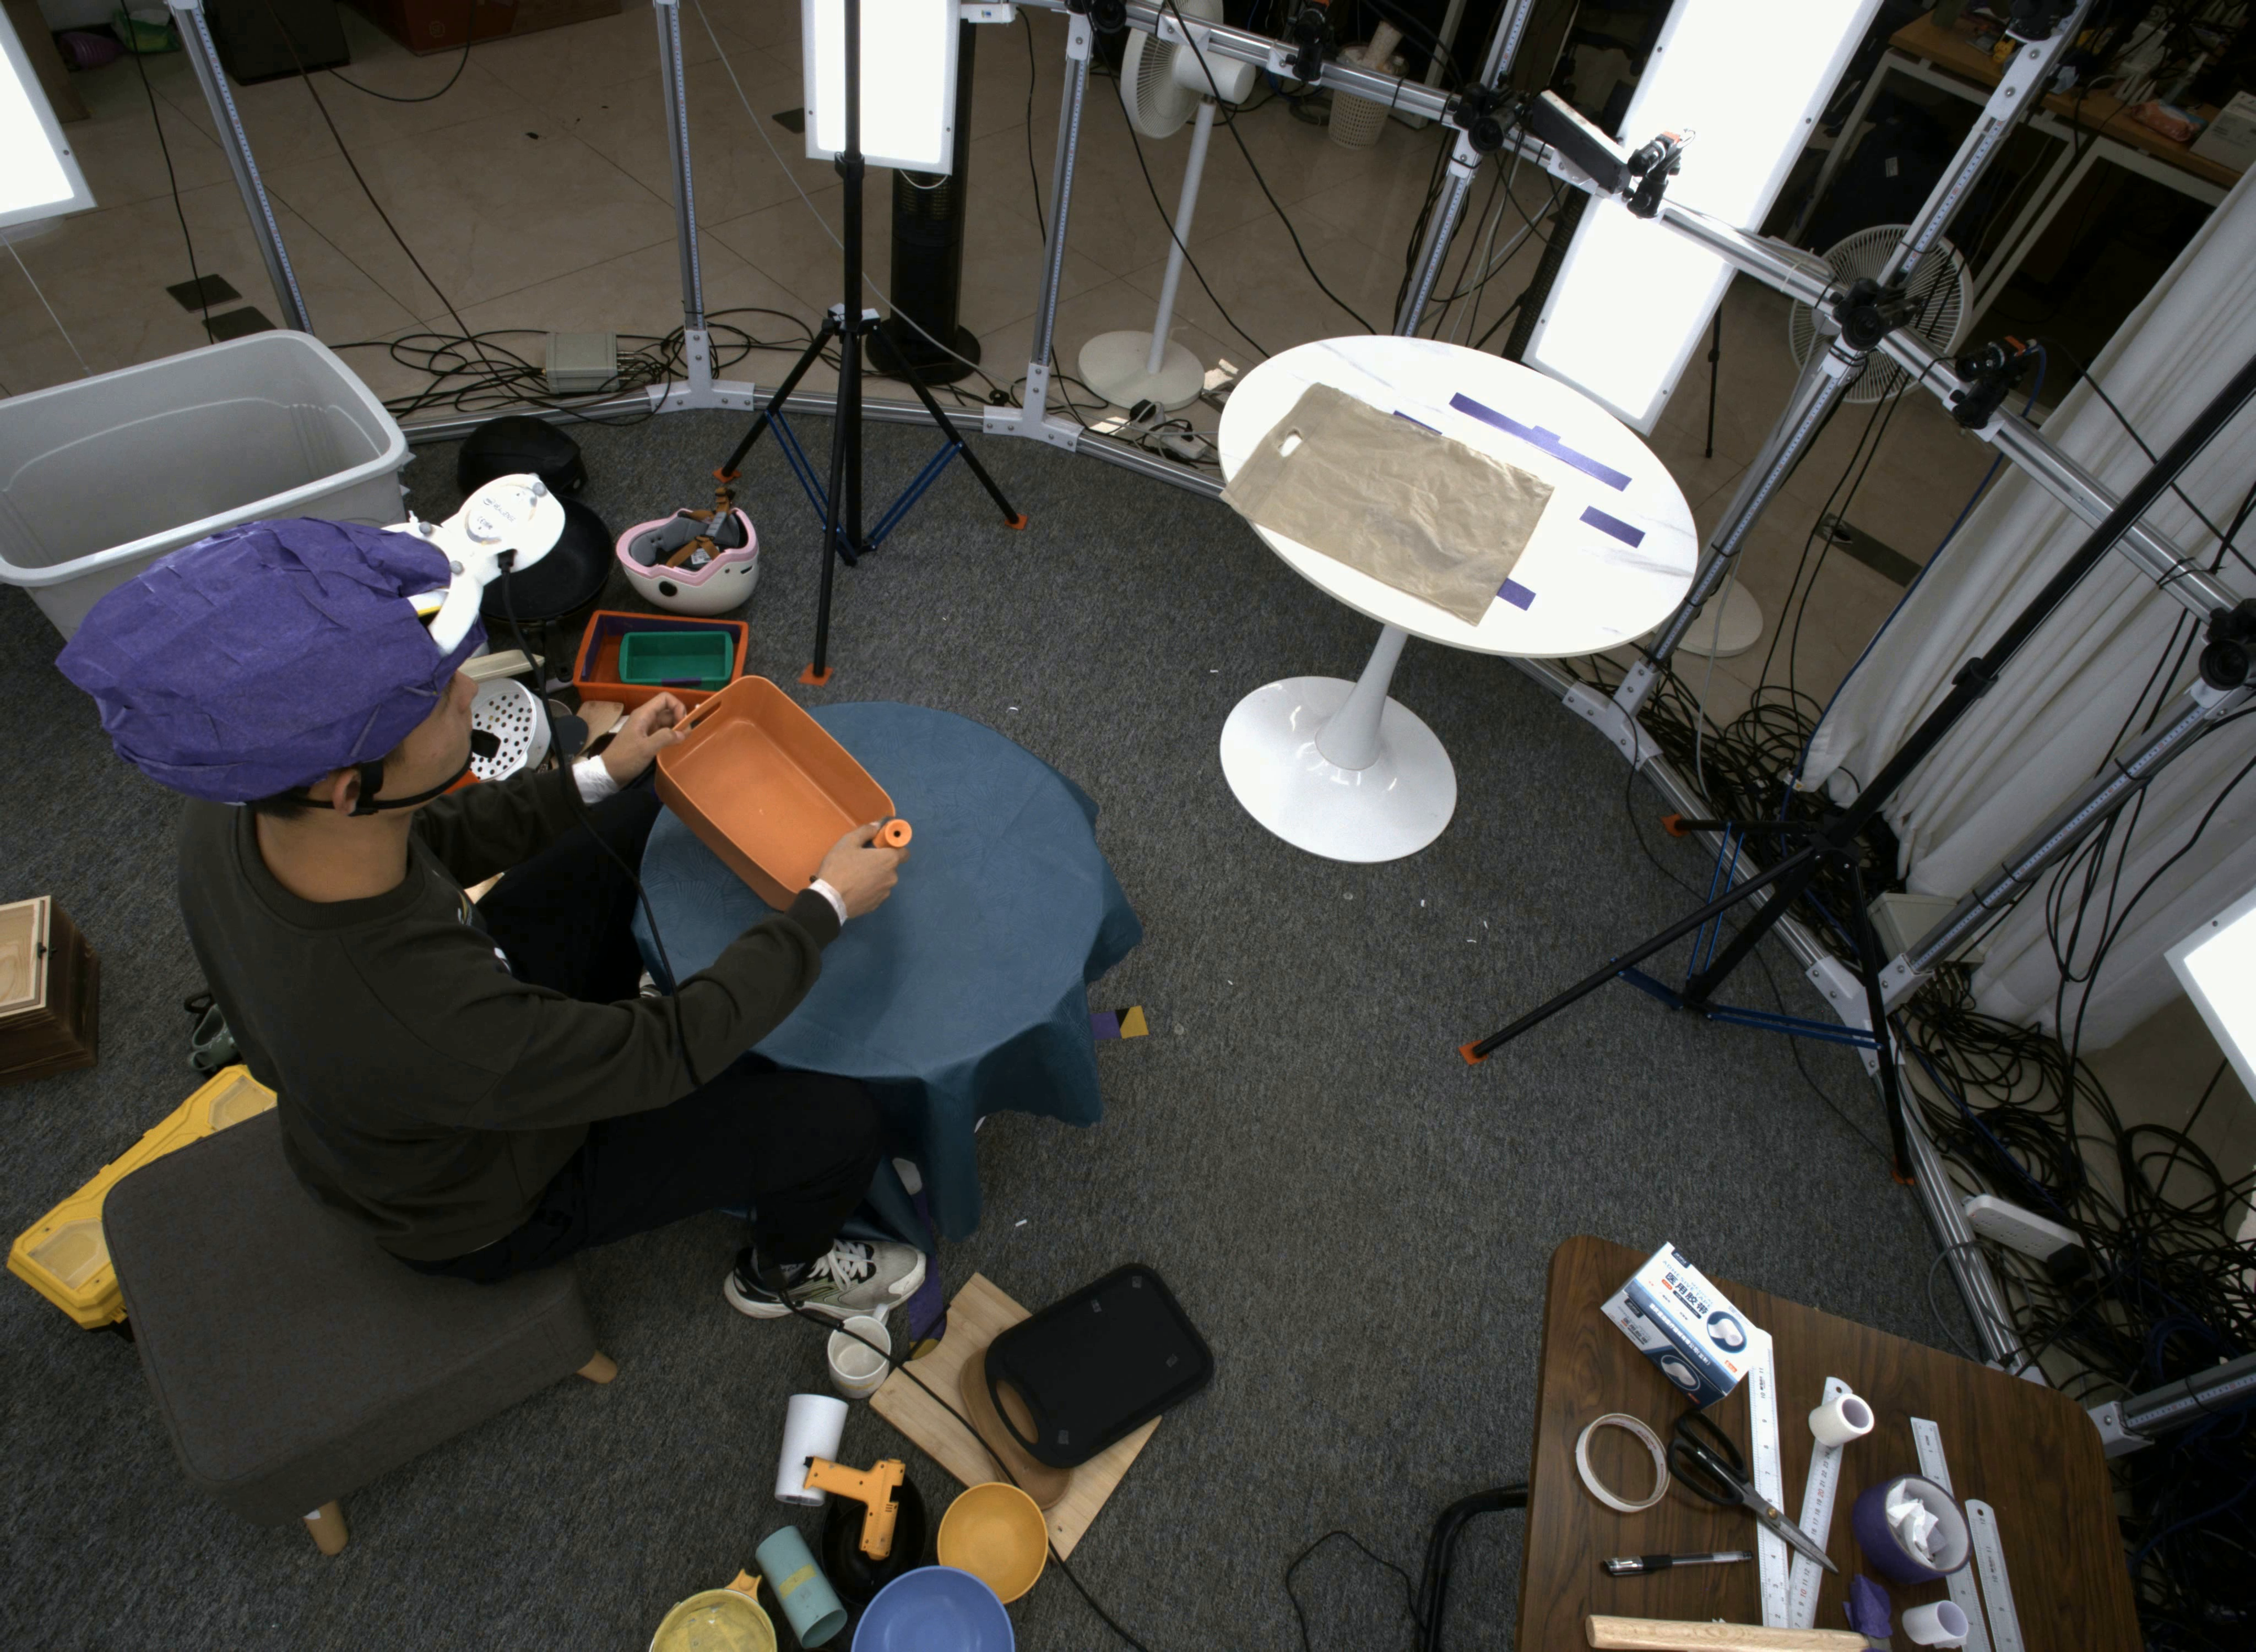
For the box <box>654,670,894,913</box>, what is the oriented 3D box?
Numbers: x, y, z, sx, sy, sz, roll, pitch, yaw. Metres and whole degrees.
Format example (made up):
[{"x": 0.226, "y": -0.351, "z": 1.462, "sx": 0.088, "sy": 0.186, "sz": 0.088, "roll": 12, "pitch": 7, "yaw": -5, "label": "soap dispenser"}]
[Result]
[{"x": -0.451, "y": -0.036, "z": 1.625, "sx": 0.276, "sy": 0.102, "sz": 0.199, "roll": 45, "pitch": 55, "yaw": -8, "label": "box"}]

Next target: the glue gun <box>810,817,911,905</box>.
[{"x": -0.312, "y": 0.032, "z": 1.555, "sx": 0.140, "sy": 0.116, "sz": 0.041, "roll": -43, "pitch": 100, "yaw": -25, "label": "glue gun"}]
